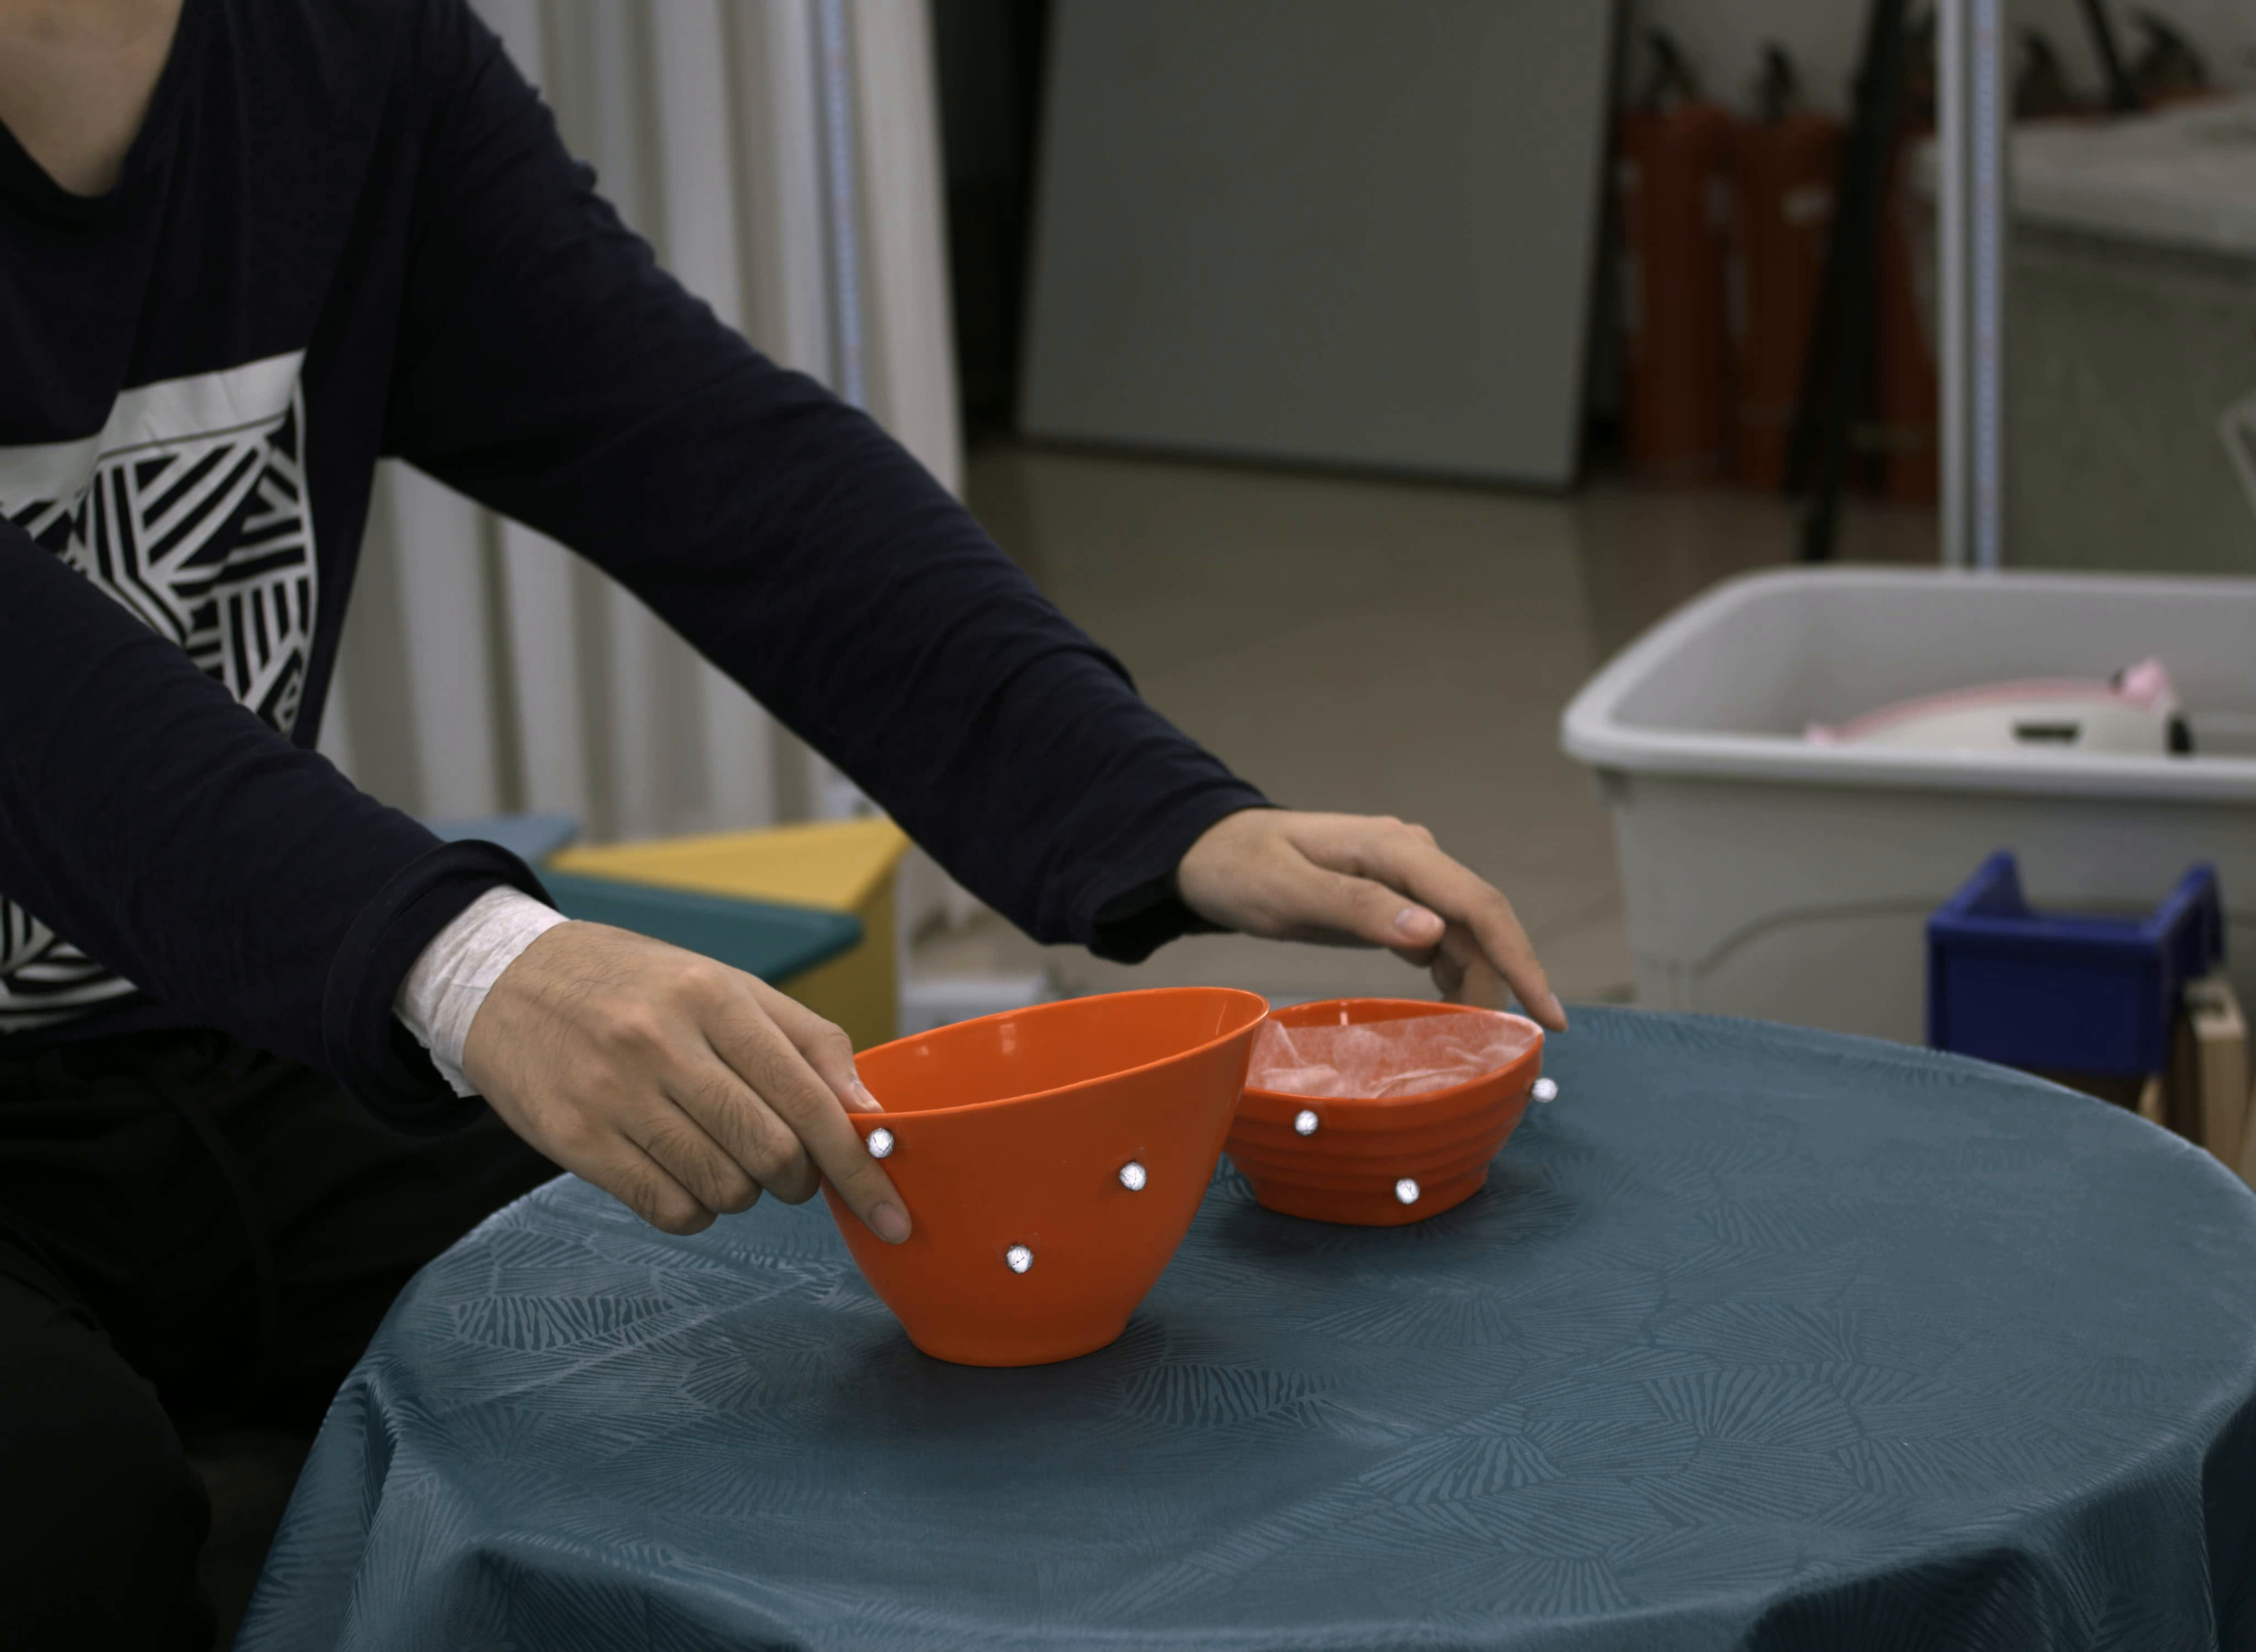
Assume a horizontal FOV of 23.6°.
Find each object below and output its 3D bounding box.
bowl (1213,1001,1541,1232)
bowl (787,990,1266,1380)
[{"bbox_3d":[0.078,0.096,1.751,0.117,0.052,0.119,-6,14,0],"label":"bowl"},{"bbox_3d":[-0.028,0.108,1.626,0.146,0.106,0.148,-5,13,0],"label":"bowl"}]
